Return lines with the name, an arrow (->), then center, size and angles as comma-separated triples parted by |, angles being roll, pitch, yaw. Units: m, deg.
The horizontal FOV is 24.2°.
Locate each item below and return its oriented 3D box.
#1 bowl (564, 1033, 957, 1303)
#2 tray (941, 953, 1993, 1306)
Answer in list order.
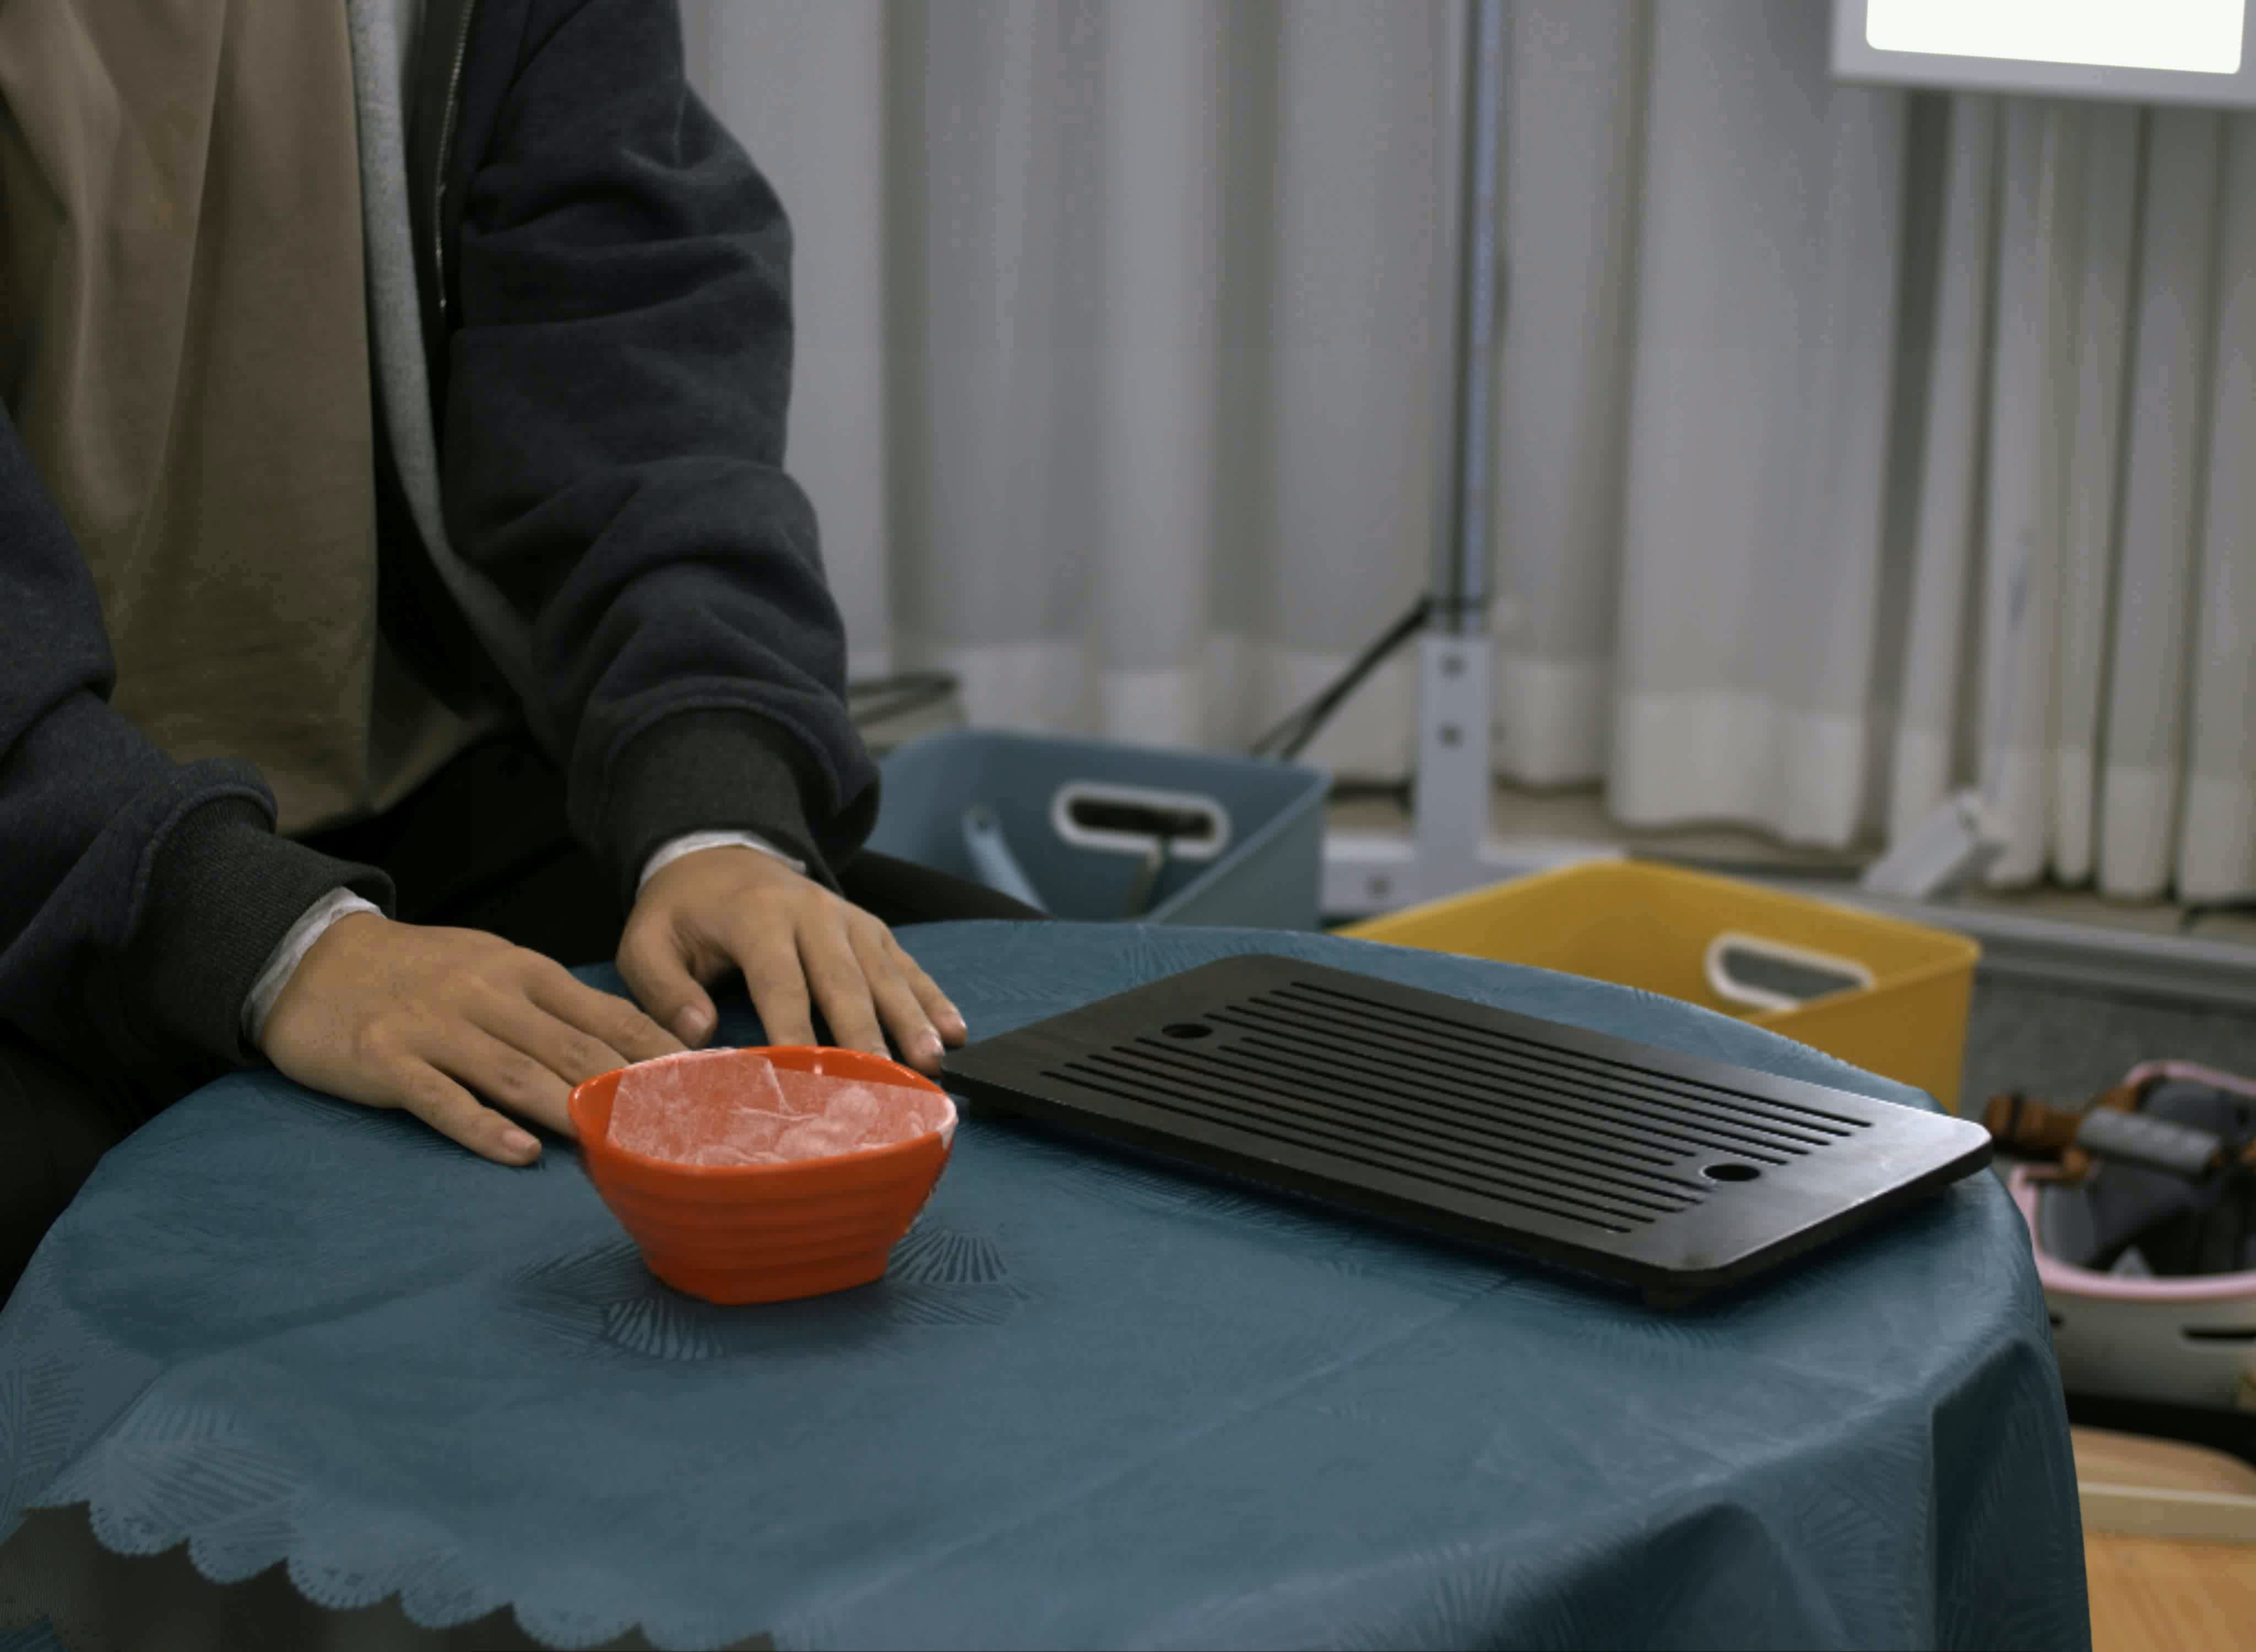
bowl -> -0.108, 0.103, 1.550 | 0.118, 0.052, 0.118 | 1, 17, 0
tray -> 0.103, 0.092, 1.664 | 0.302, 0.019, 0.171 | 13, 20, 38
